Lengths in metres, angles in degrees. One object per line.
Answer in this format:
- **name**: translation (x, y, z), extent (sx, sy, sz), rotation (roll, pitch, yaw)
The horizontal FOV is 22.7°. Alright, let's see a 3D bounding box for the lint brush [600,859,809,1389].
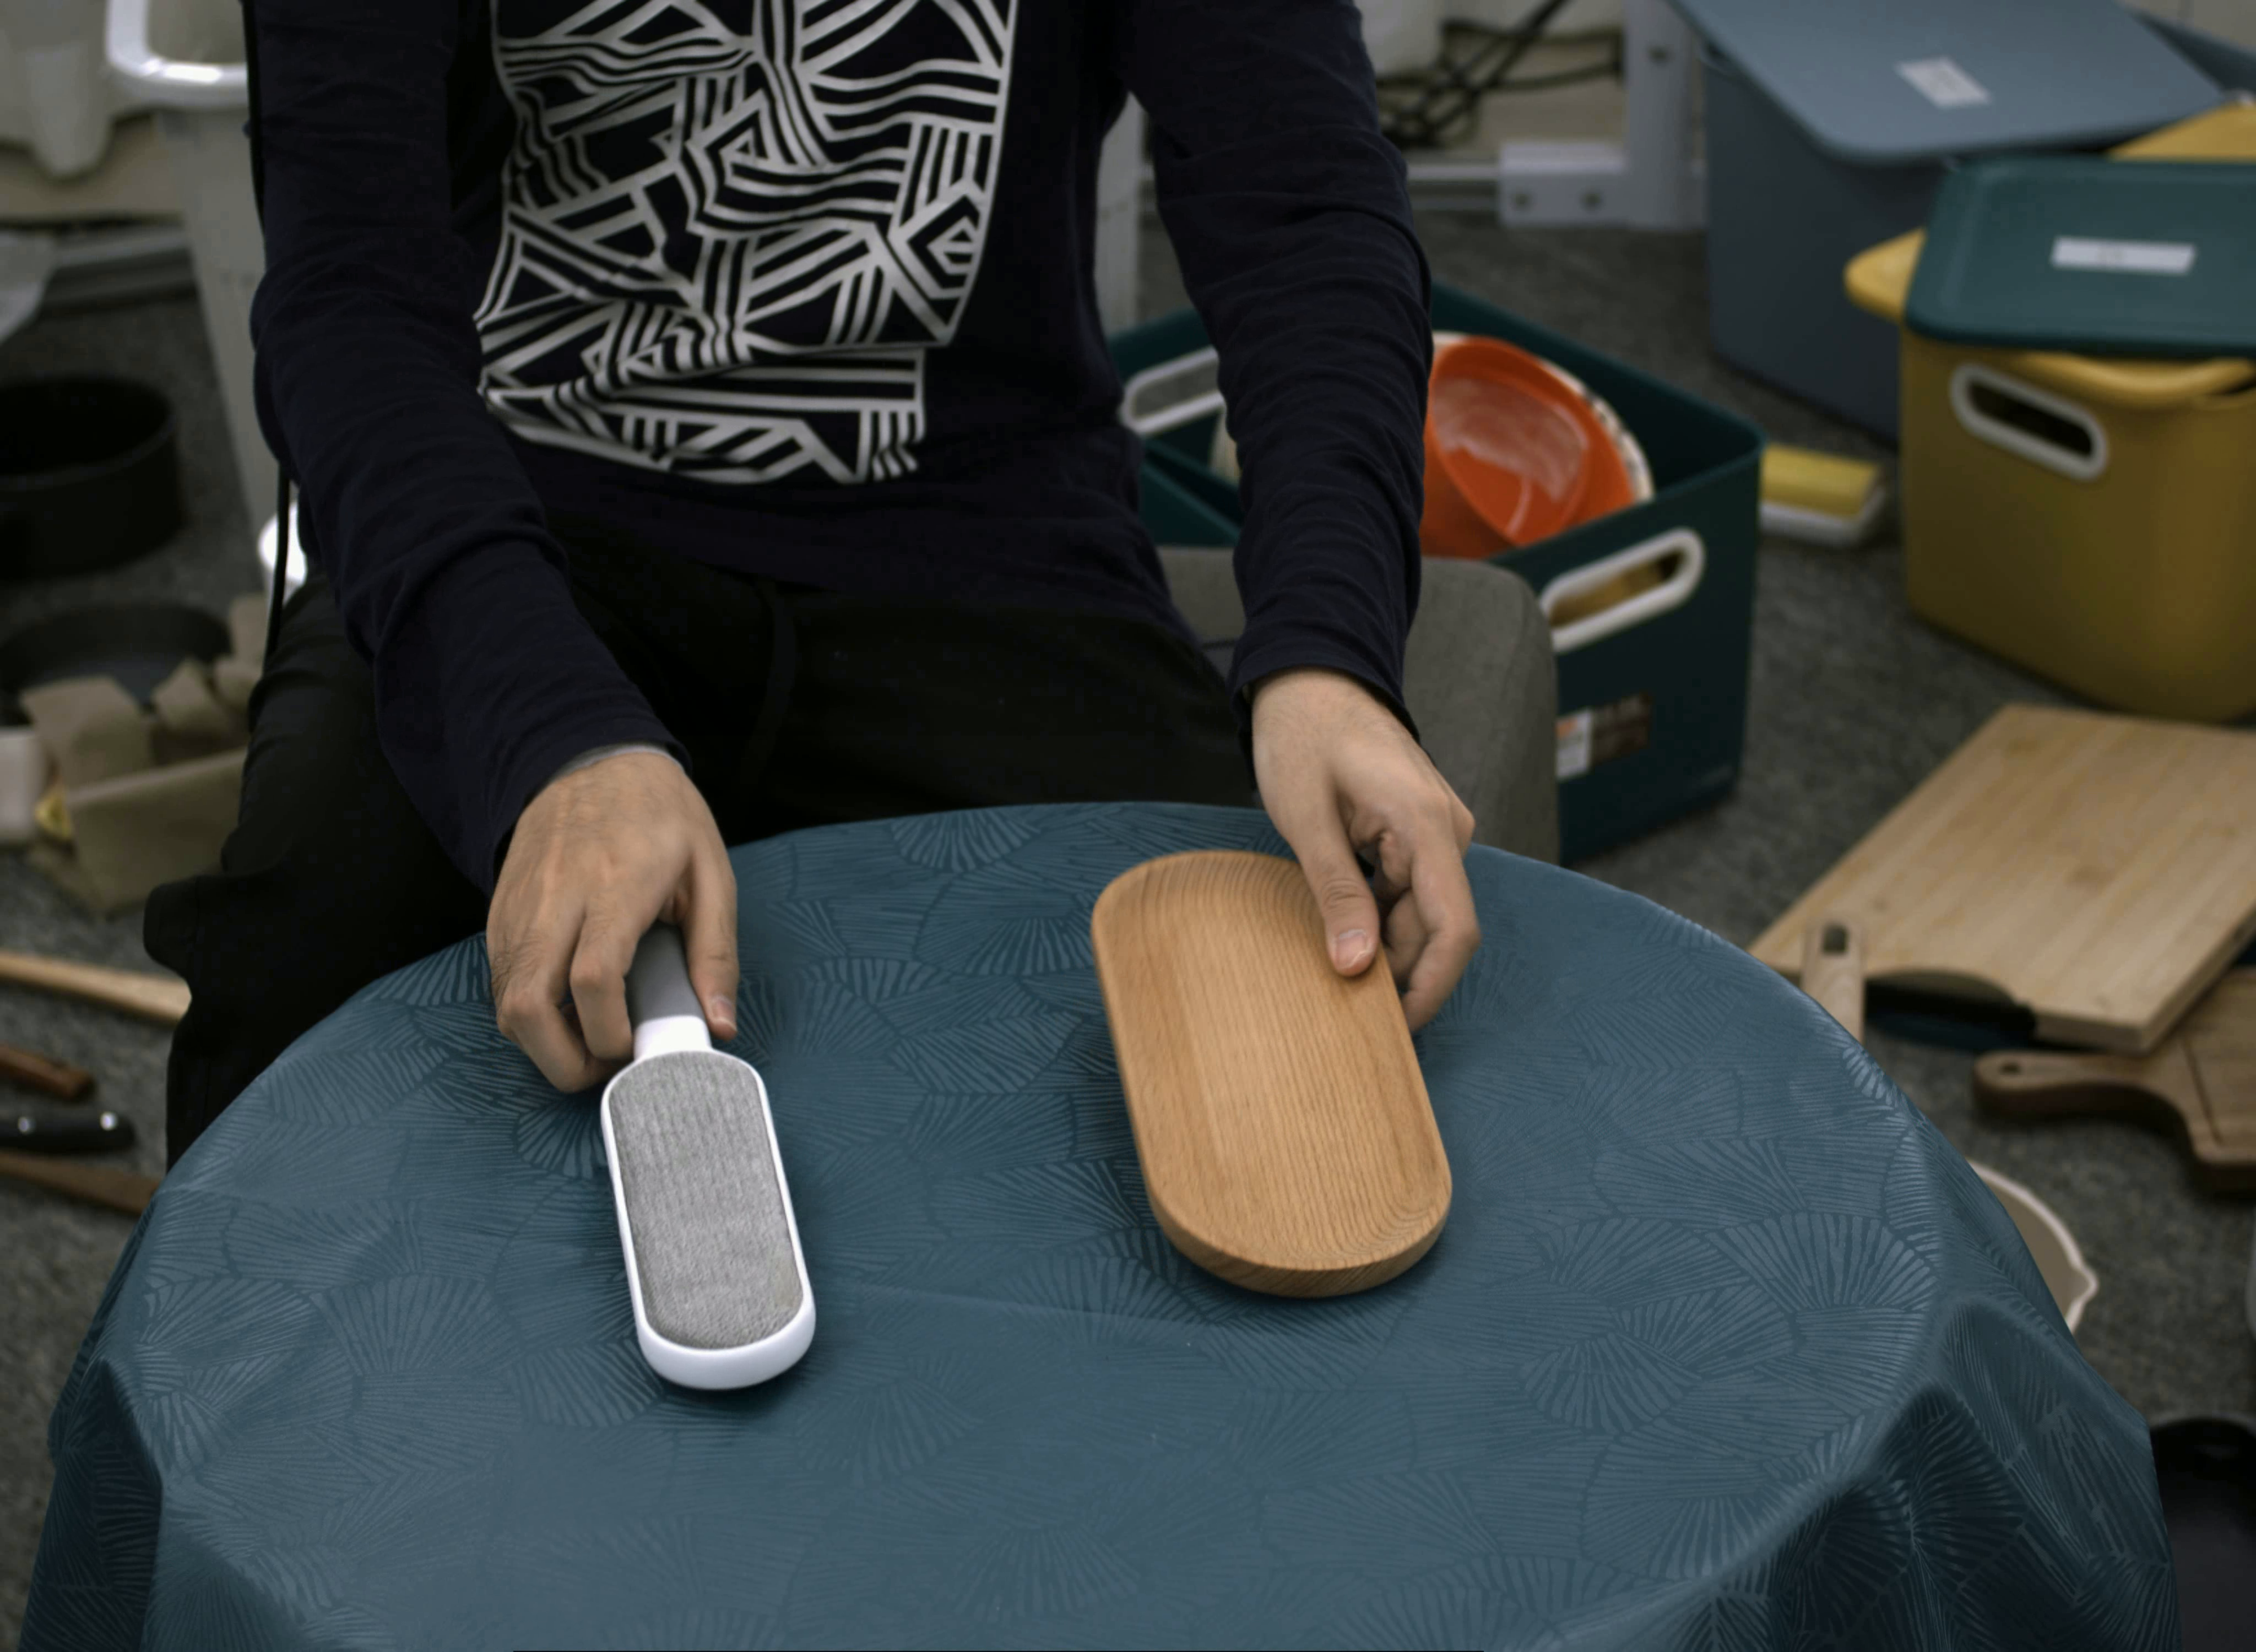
- **lint brush**: translation (-0.147, 0.094, 1.881), extent (0.060, 0.020, 0.313), rotation (-12, 31, -4)

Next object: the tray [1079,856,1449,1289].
- **tray**: translation (0.043, 0.080, 1.889), extent (0.101, 0.020, 0.234), rotation (-2, 32, -10)
